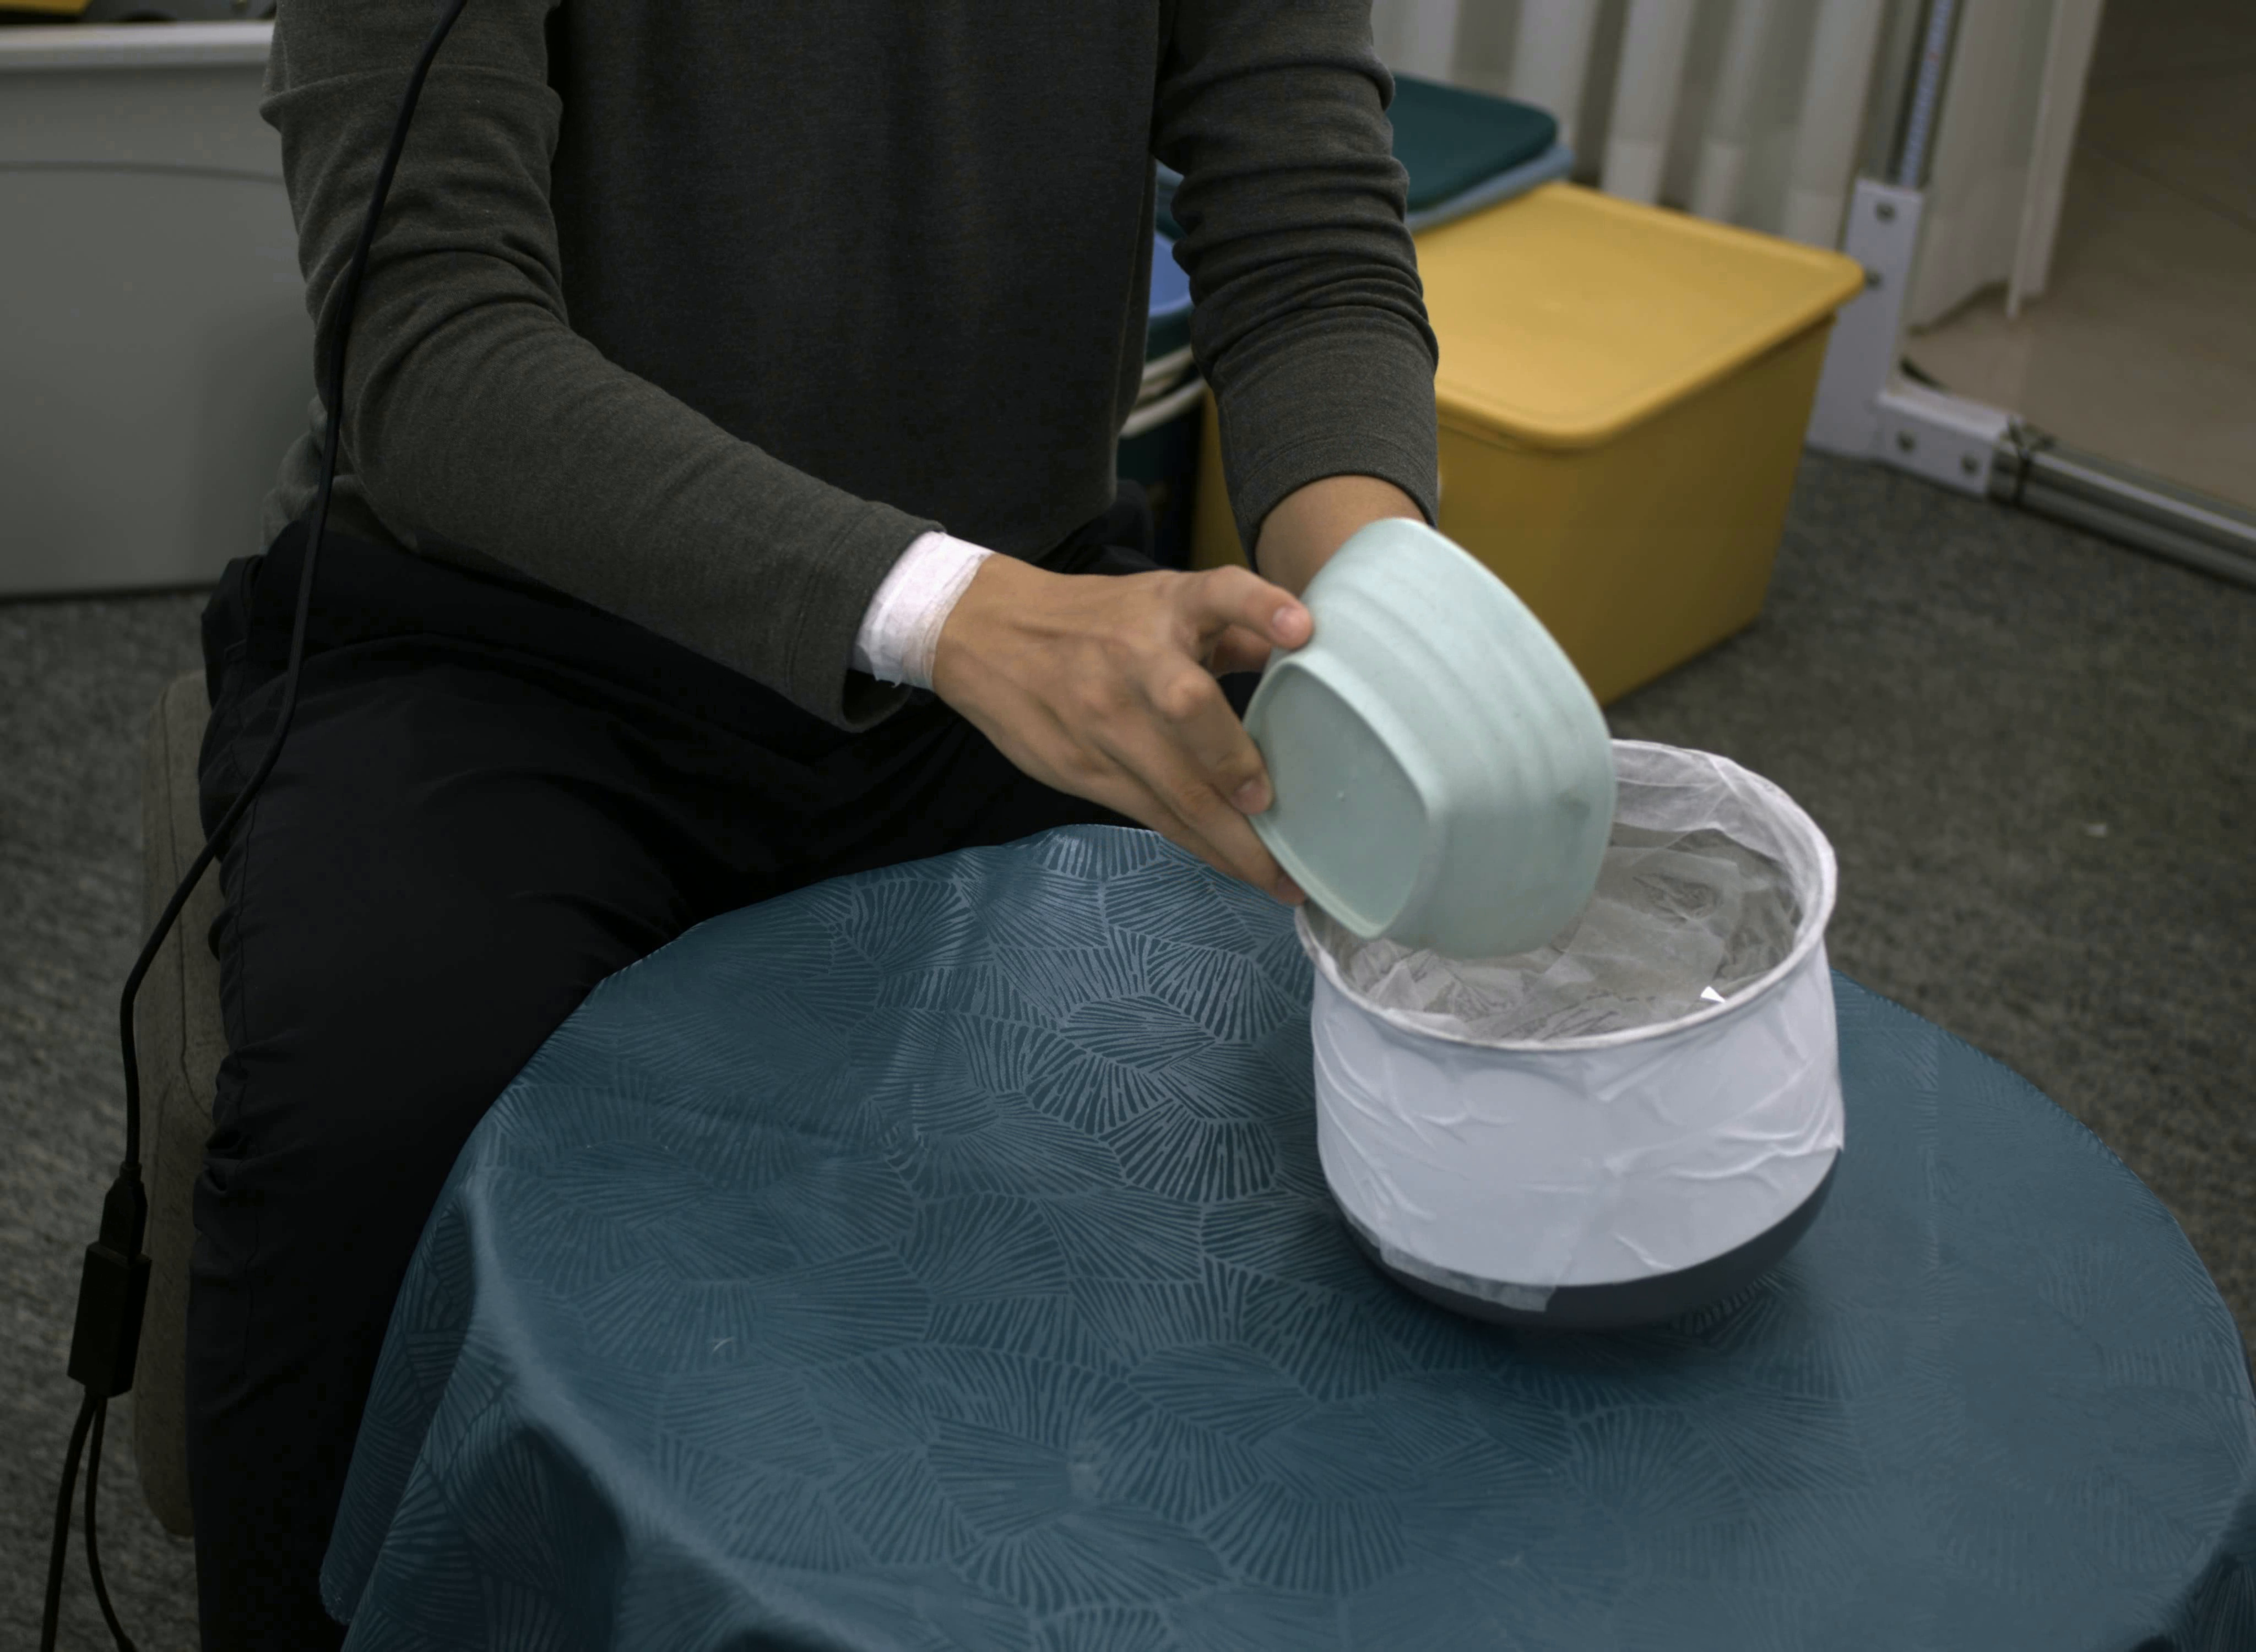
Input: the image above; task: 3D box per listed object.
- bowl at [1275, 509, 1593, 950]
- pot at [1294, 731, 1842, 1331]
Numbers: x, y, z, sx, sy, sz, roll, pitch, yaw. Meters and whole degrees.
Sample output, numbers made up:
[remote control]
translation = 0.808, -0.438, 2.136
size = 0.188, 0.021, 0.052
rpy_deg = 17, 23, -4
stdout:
[bowl]
translation = 0.092, -0.022, 1.718
size = 0.058, 0.150, 0.153
rpy_deg = -22, 35, -15
[pot]
translation = 0.136, 0.057, 1.785
size = 0.178, 0.136, 0.236
rpy_deg = -18, 35, -16
